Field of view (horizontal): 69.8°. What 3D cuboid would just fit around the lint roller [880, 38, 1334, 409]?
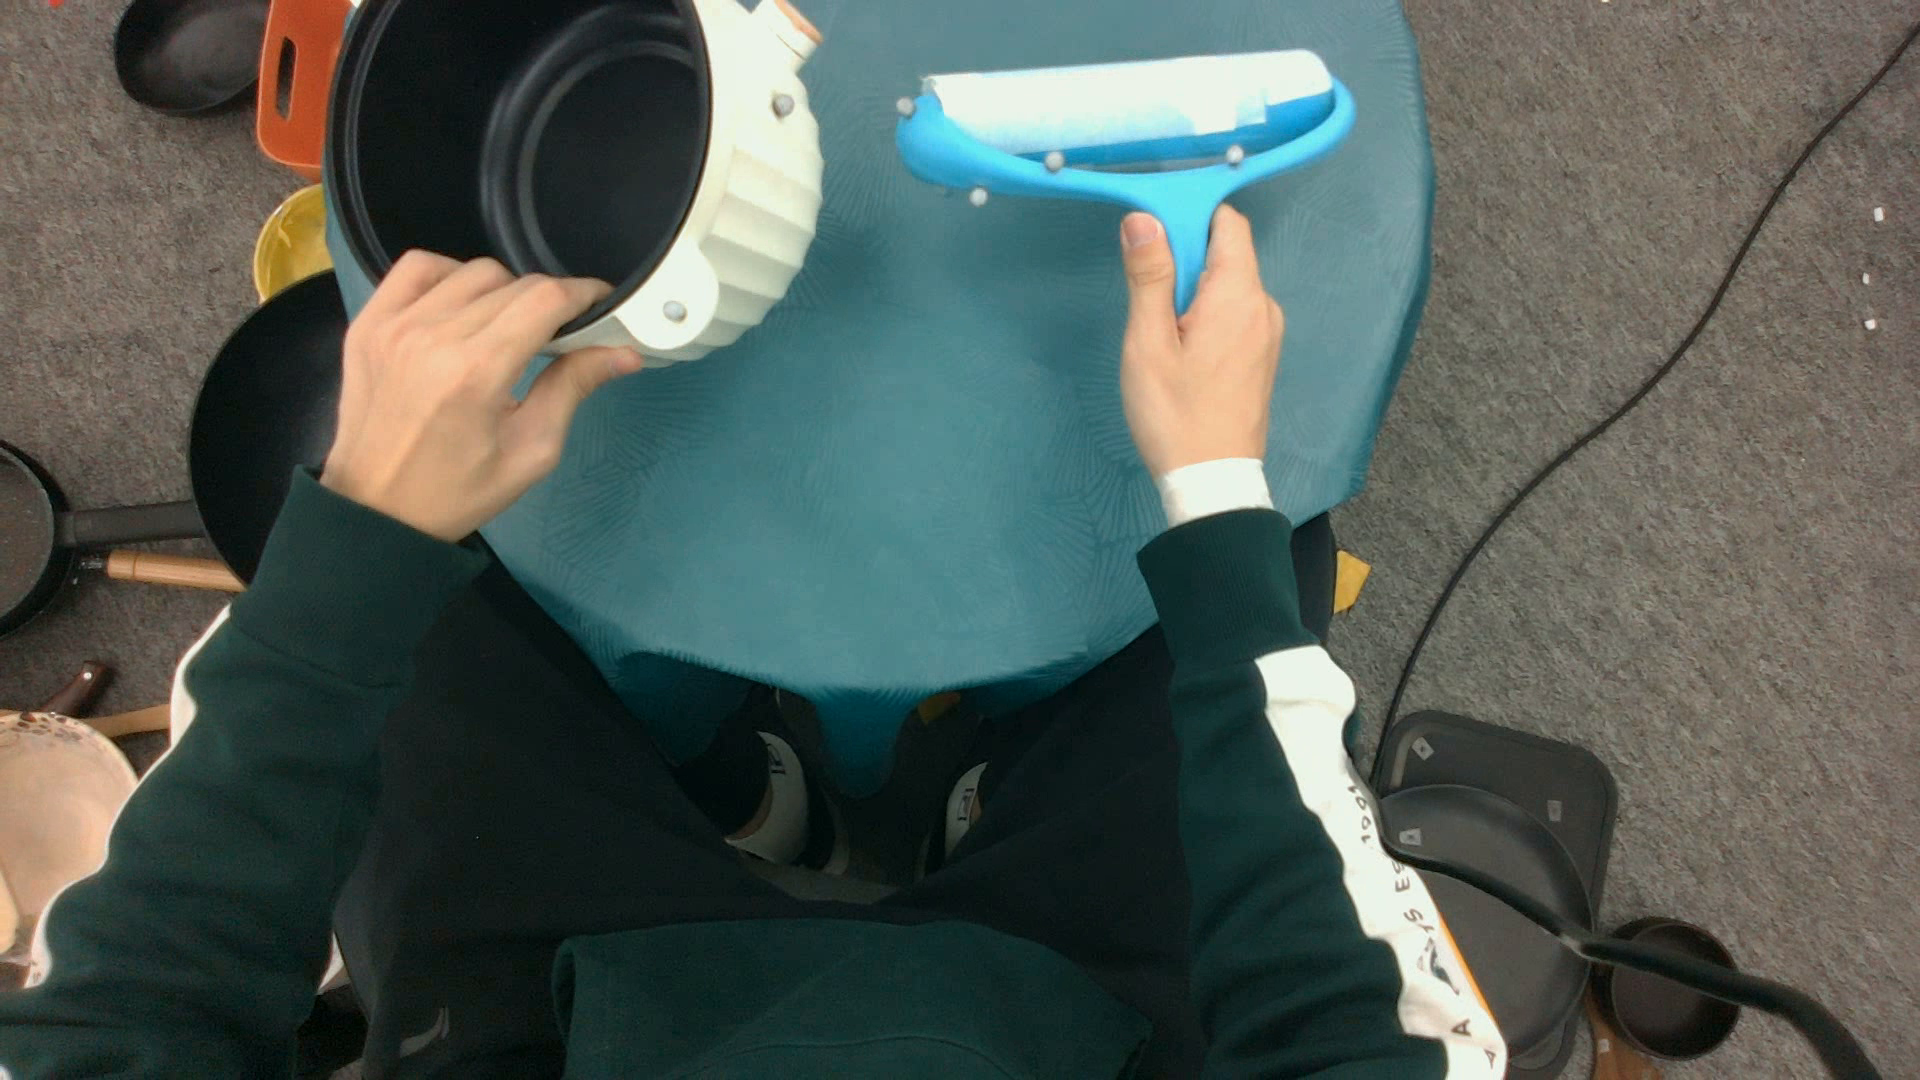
[{"bbox_3d":[0.088,-0.157,0.663,0.229,0.067,0.180,-10,74,-14],"label":"lint roller"}]

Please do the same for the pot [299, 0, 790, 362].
[{"bbox_3d":[-0.169,-0.175,0.615,0.240,0.143,0.190,43,104,11],"label":"pot"}]
